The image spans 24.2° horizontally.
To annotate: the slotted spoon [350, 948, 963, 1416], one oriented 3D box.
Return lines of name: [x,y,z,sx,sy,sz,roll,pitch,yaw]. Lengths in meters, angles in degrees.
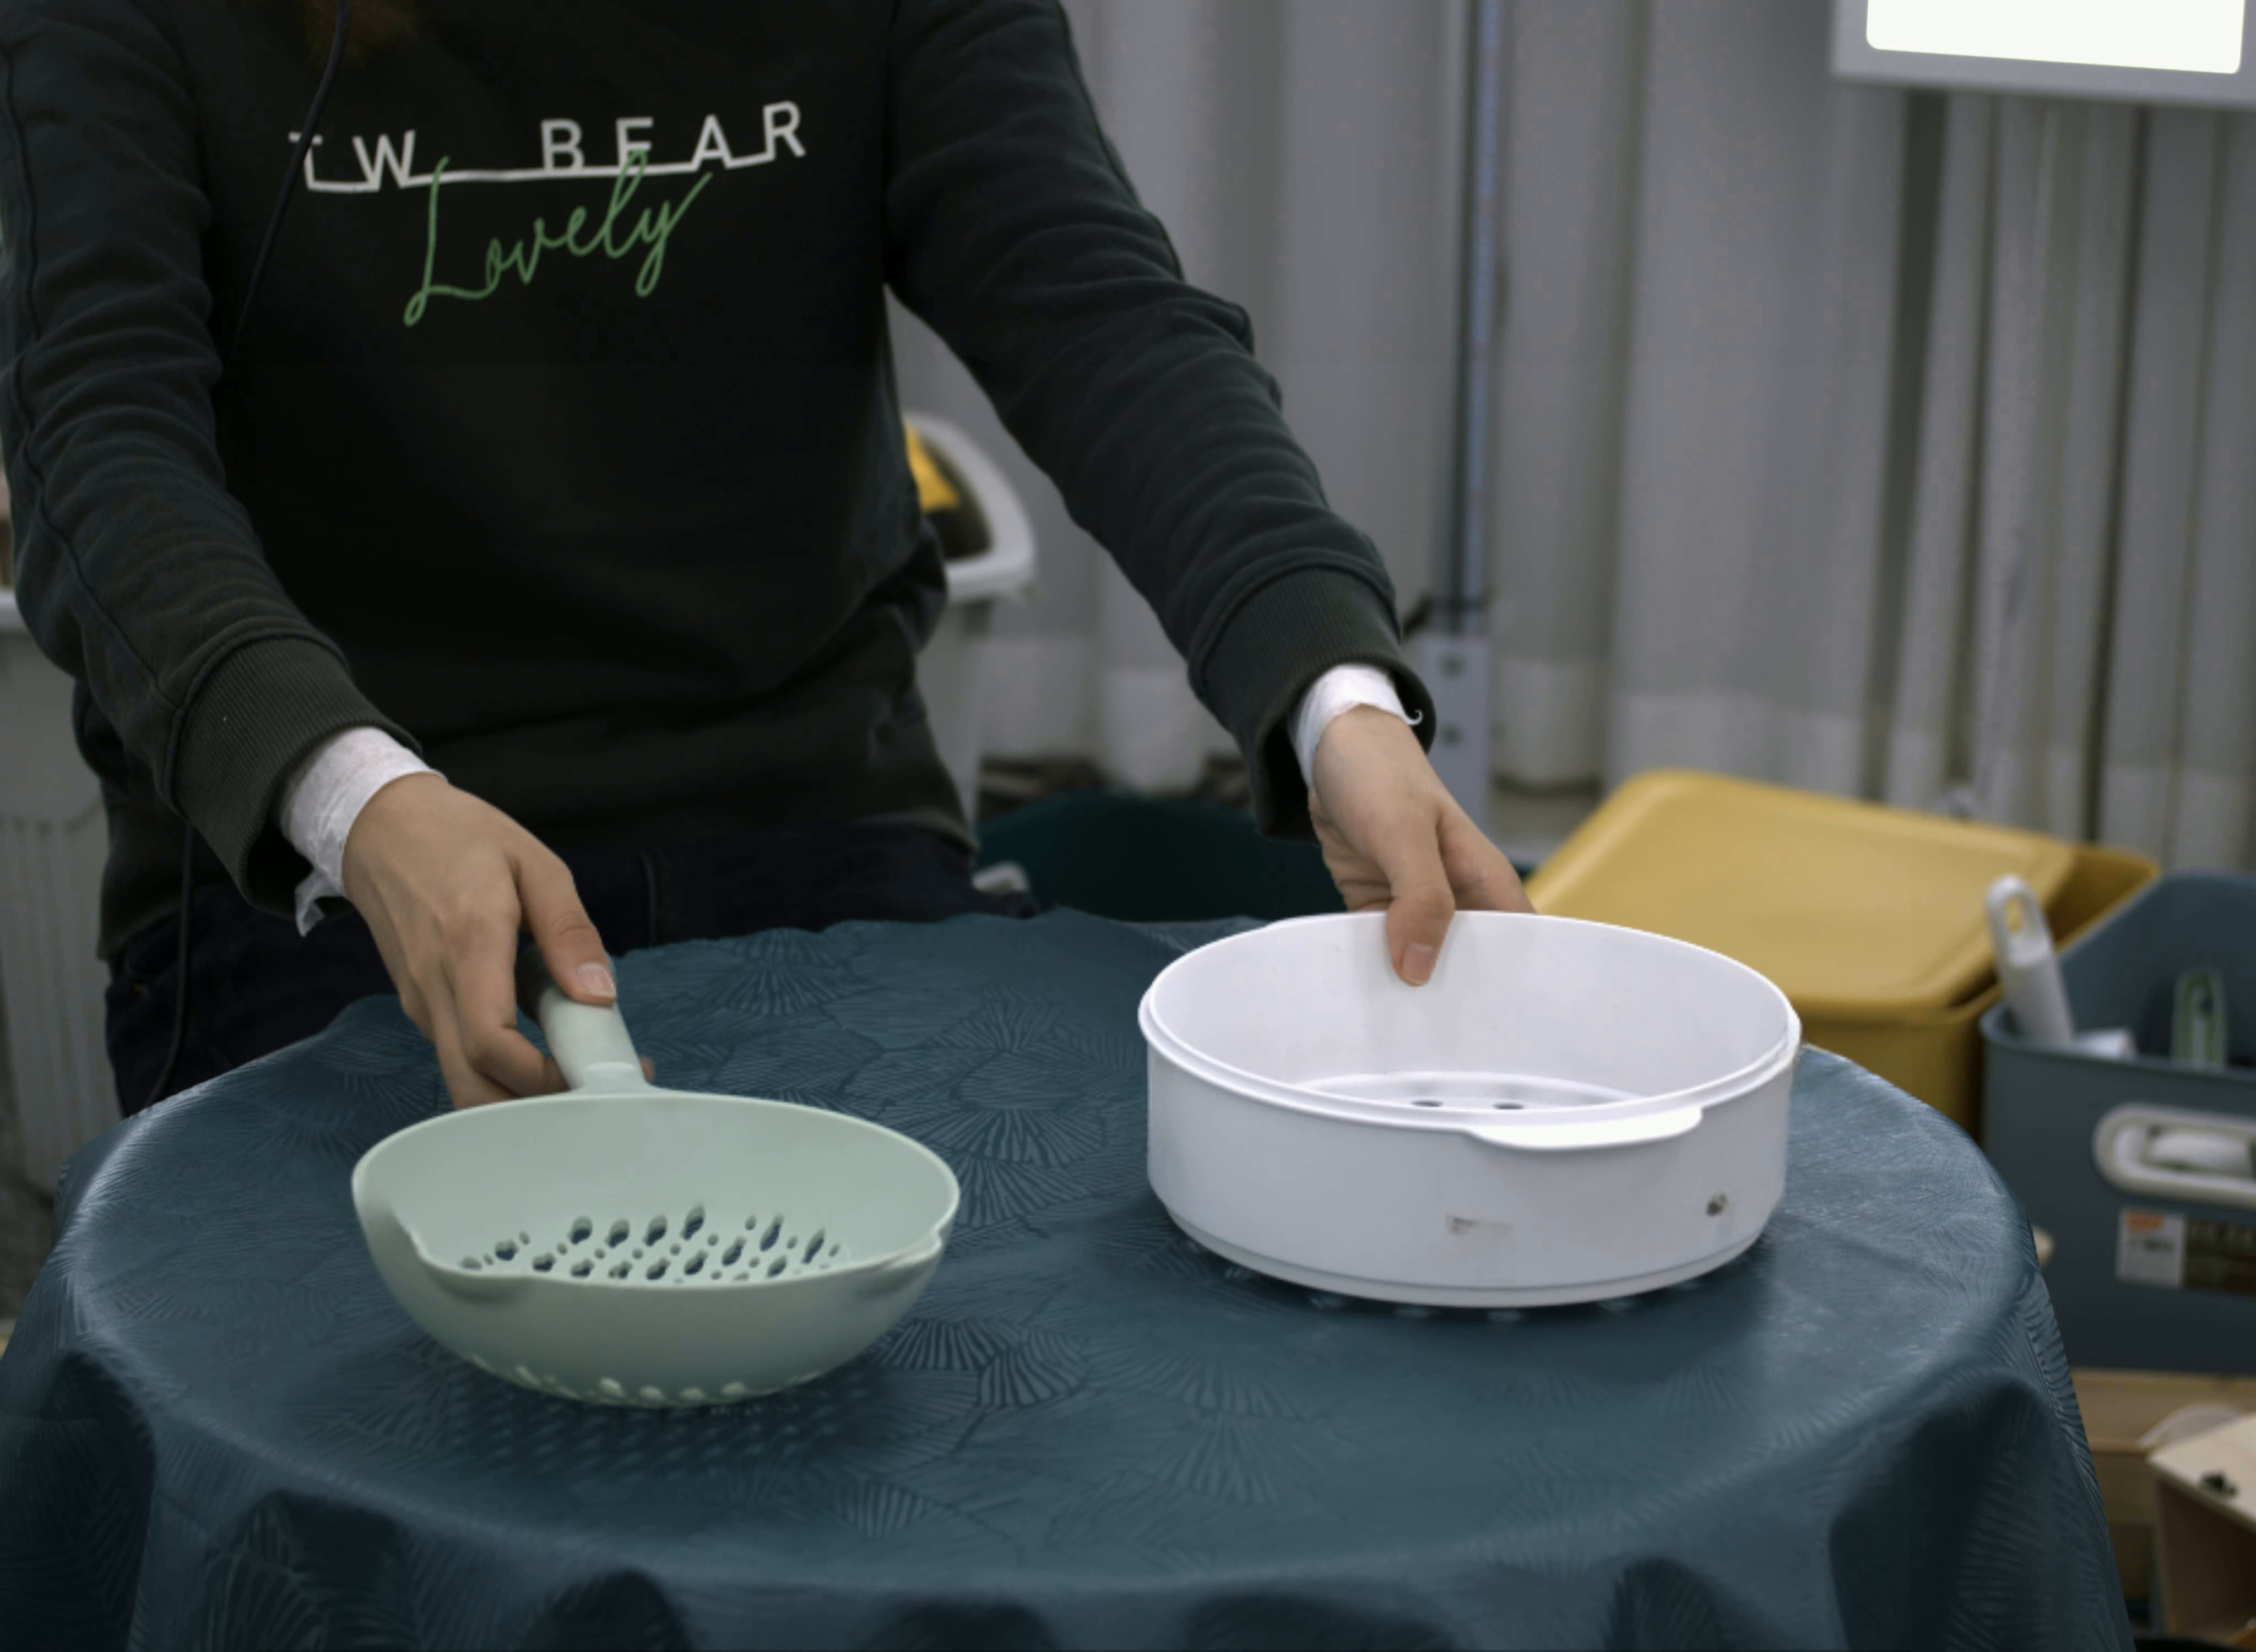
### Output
slotted spoon: [-0.150,0.088,1.552,0.169,0.076,0.355,0,22,-13]

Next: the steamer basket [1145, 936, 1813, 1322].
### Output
steamer basket: [0.105,0.091,1.593,0.202,0.070,0.228,-3,15,-18]
